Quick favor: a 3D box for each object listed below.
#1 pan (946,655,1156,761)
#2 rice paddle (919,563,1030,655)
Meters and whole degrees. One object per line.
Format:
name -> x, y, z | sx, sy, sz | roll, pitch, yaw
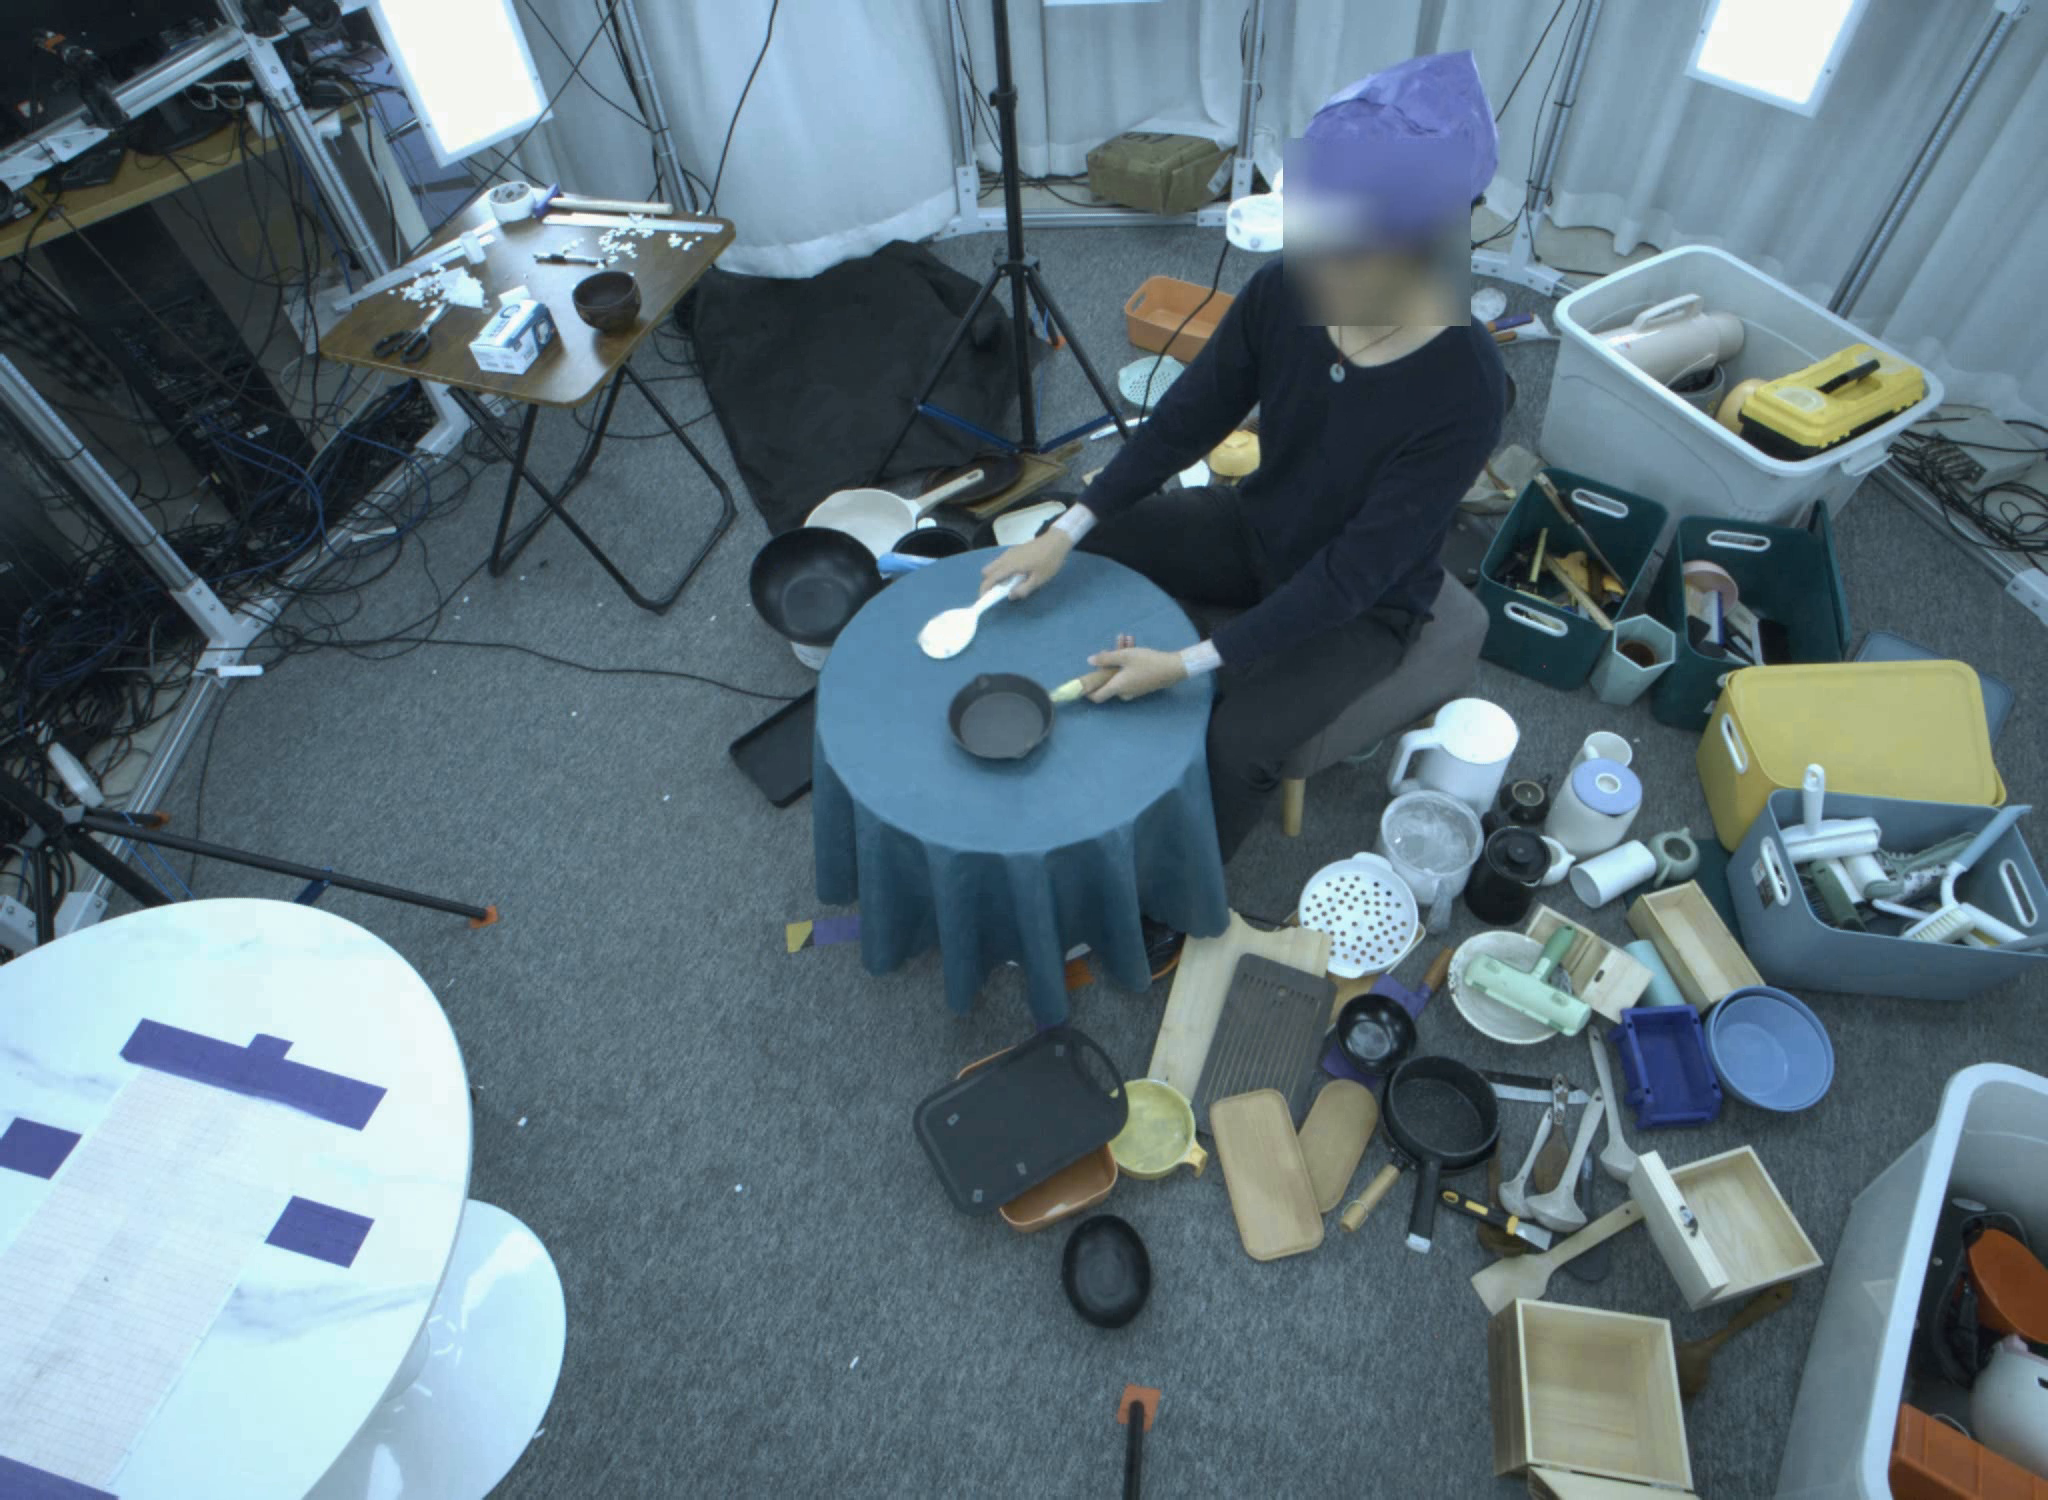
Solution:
pan -> 0.045, -0.075, 1.808 | 0.326, 0.050, 0.166 | -19, 56, -9
rice paddle -> -0.079, -0.219, 1.912 | 0.206, 0.030, 0.068 | -39, 68, -11
